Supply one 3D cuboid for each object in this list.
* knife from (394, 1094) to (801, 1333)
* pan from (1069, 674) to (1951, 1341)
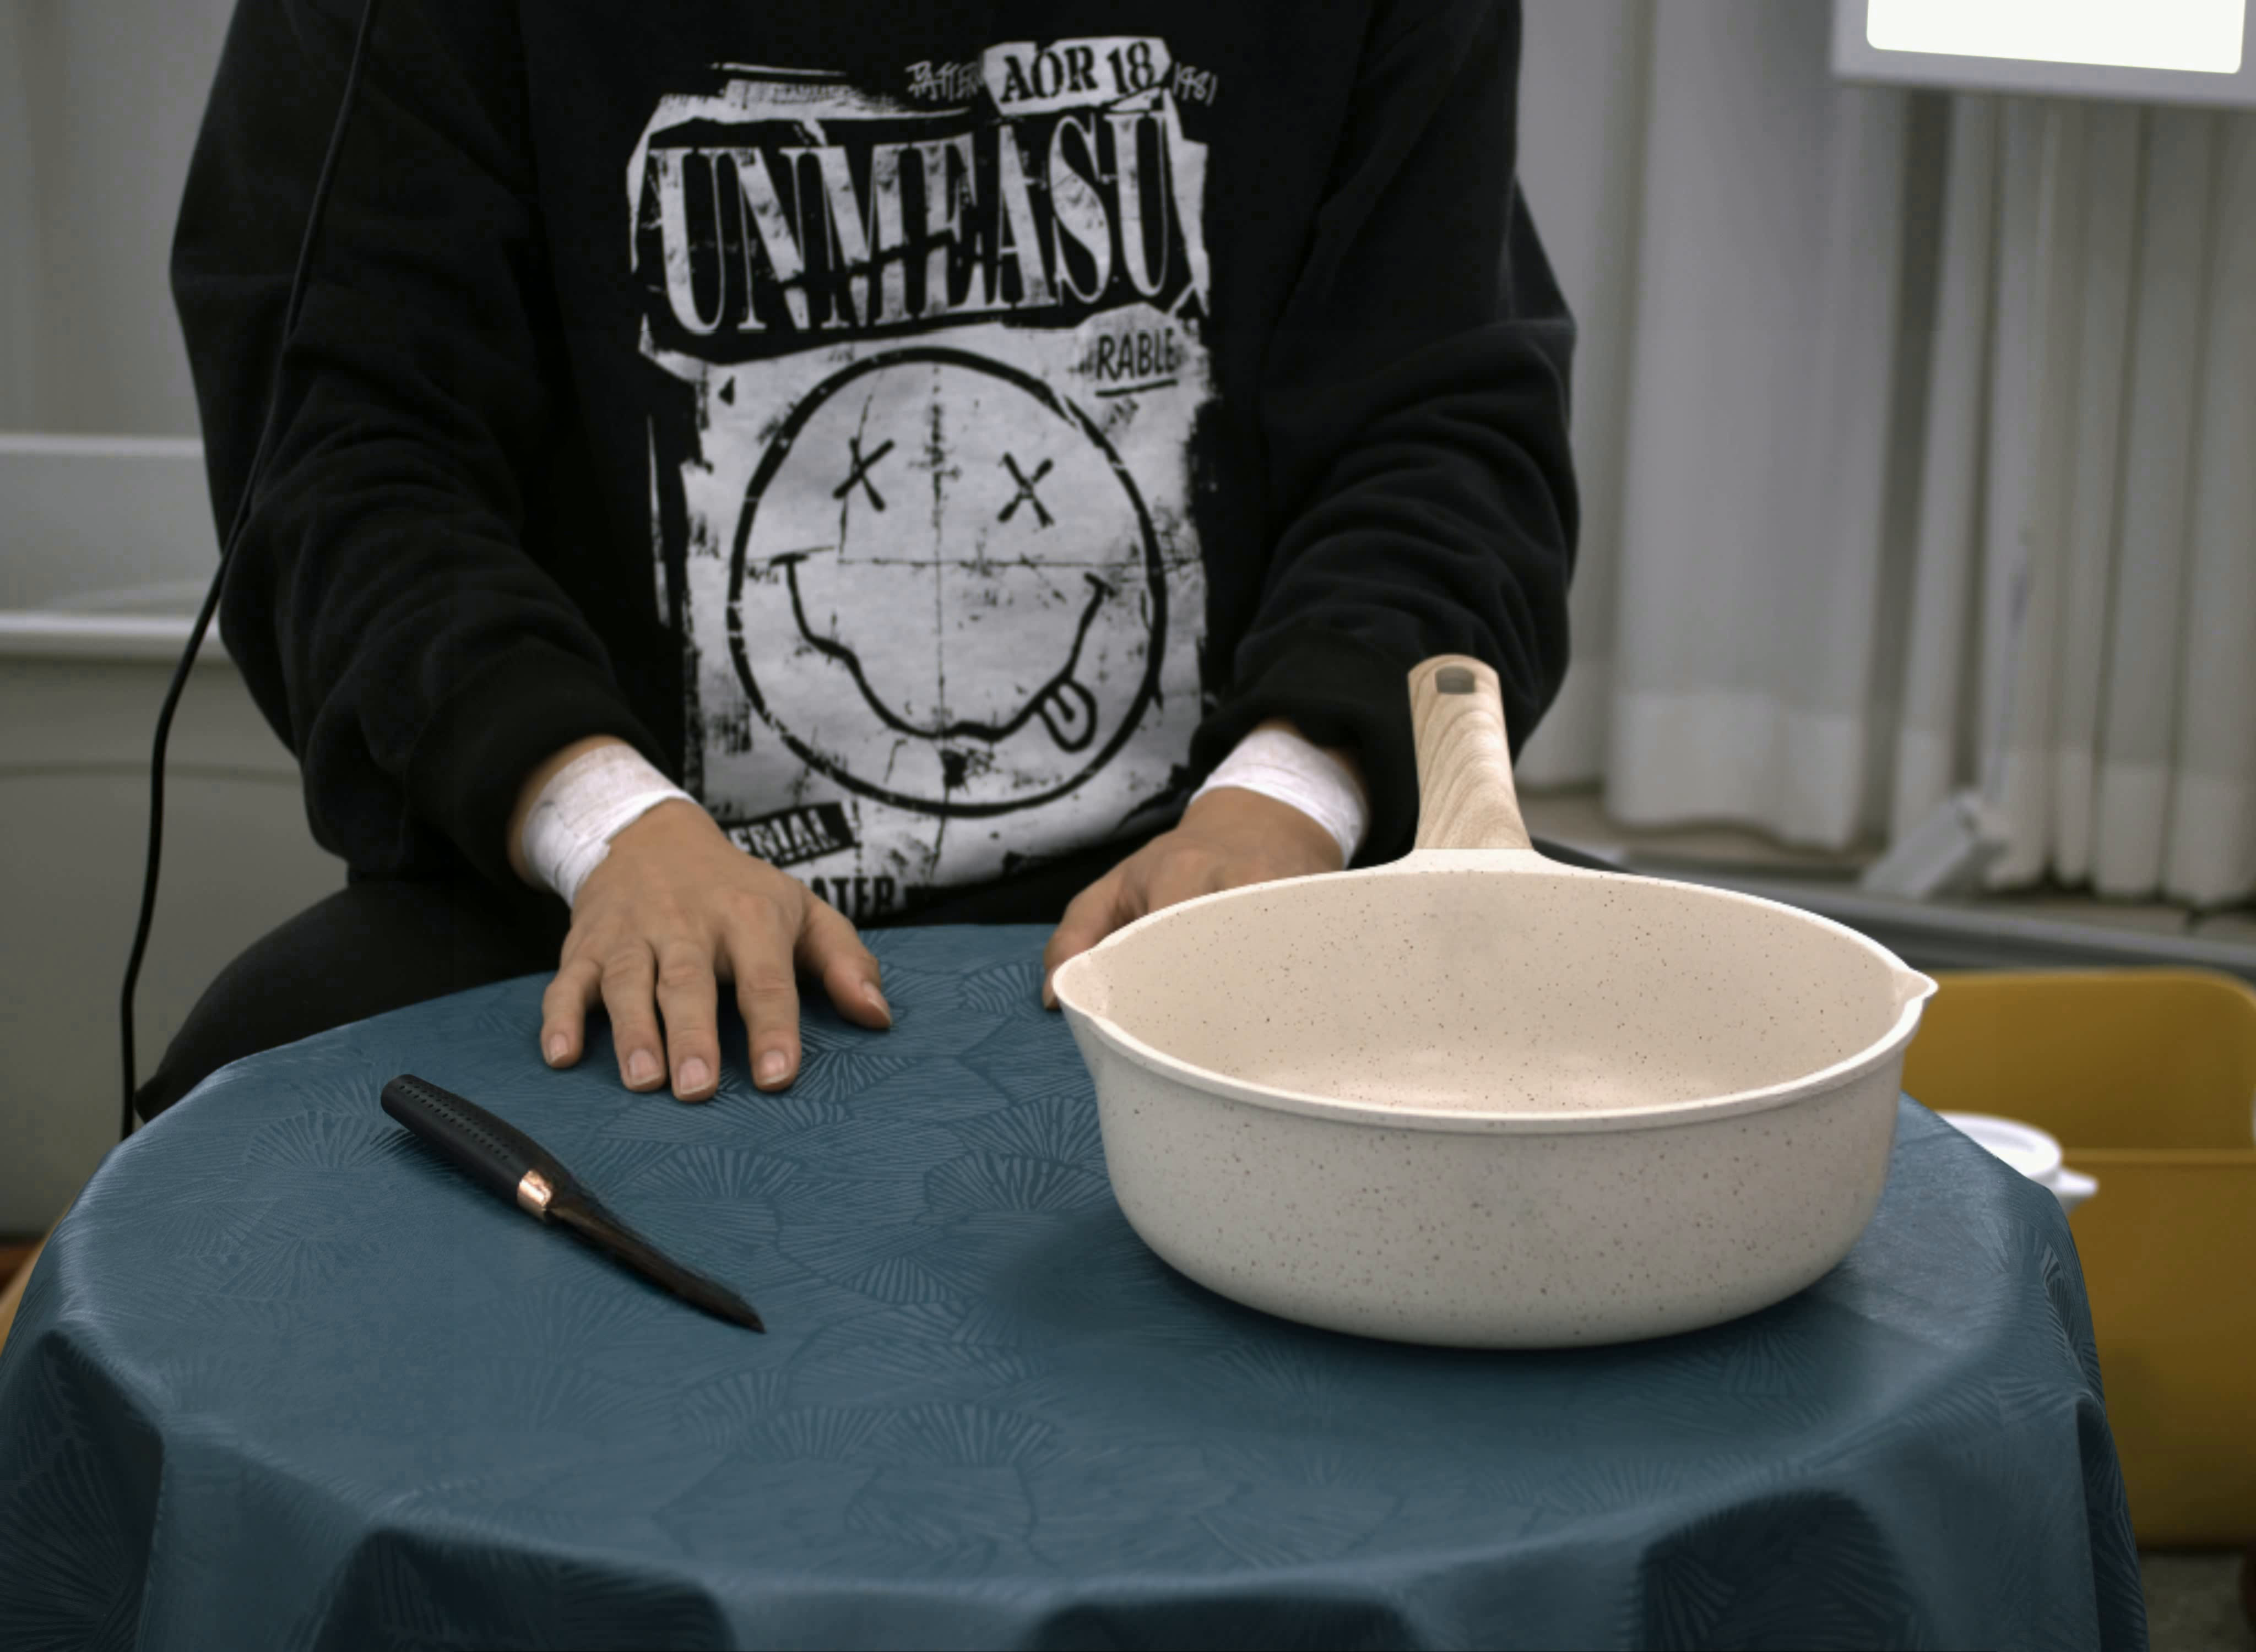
[{"bbox_3d":[-0.163,0.117,1.587,0.026,0.017,0.222,8,9,-38],"label":"knife"},{"bbox_3d":[0.114,0.052,1.658,0.262,0.103,0.432,-1,15,0],"label":"pan"}]
